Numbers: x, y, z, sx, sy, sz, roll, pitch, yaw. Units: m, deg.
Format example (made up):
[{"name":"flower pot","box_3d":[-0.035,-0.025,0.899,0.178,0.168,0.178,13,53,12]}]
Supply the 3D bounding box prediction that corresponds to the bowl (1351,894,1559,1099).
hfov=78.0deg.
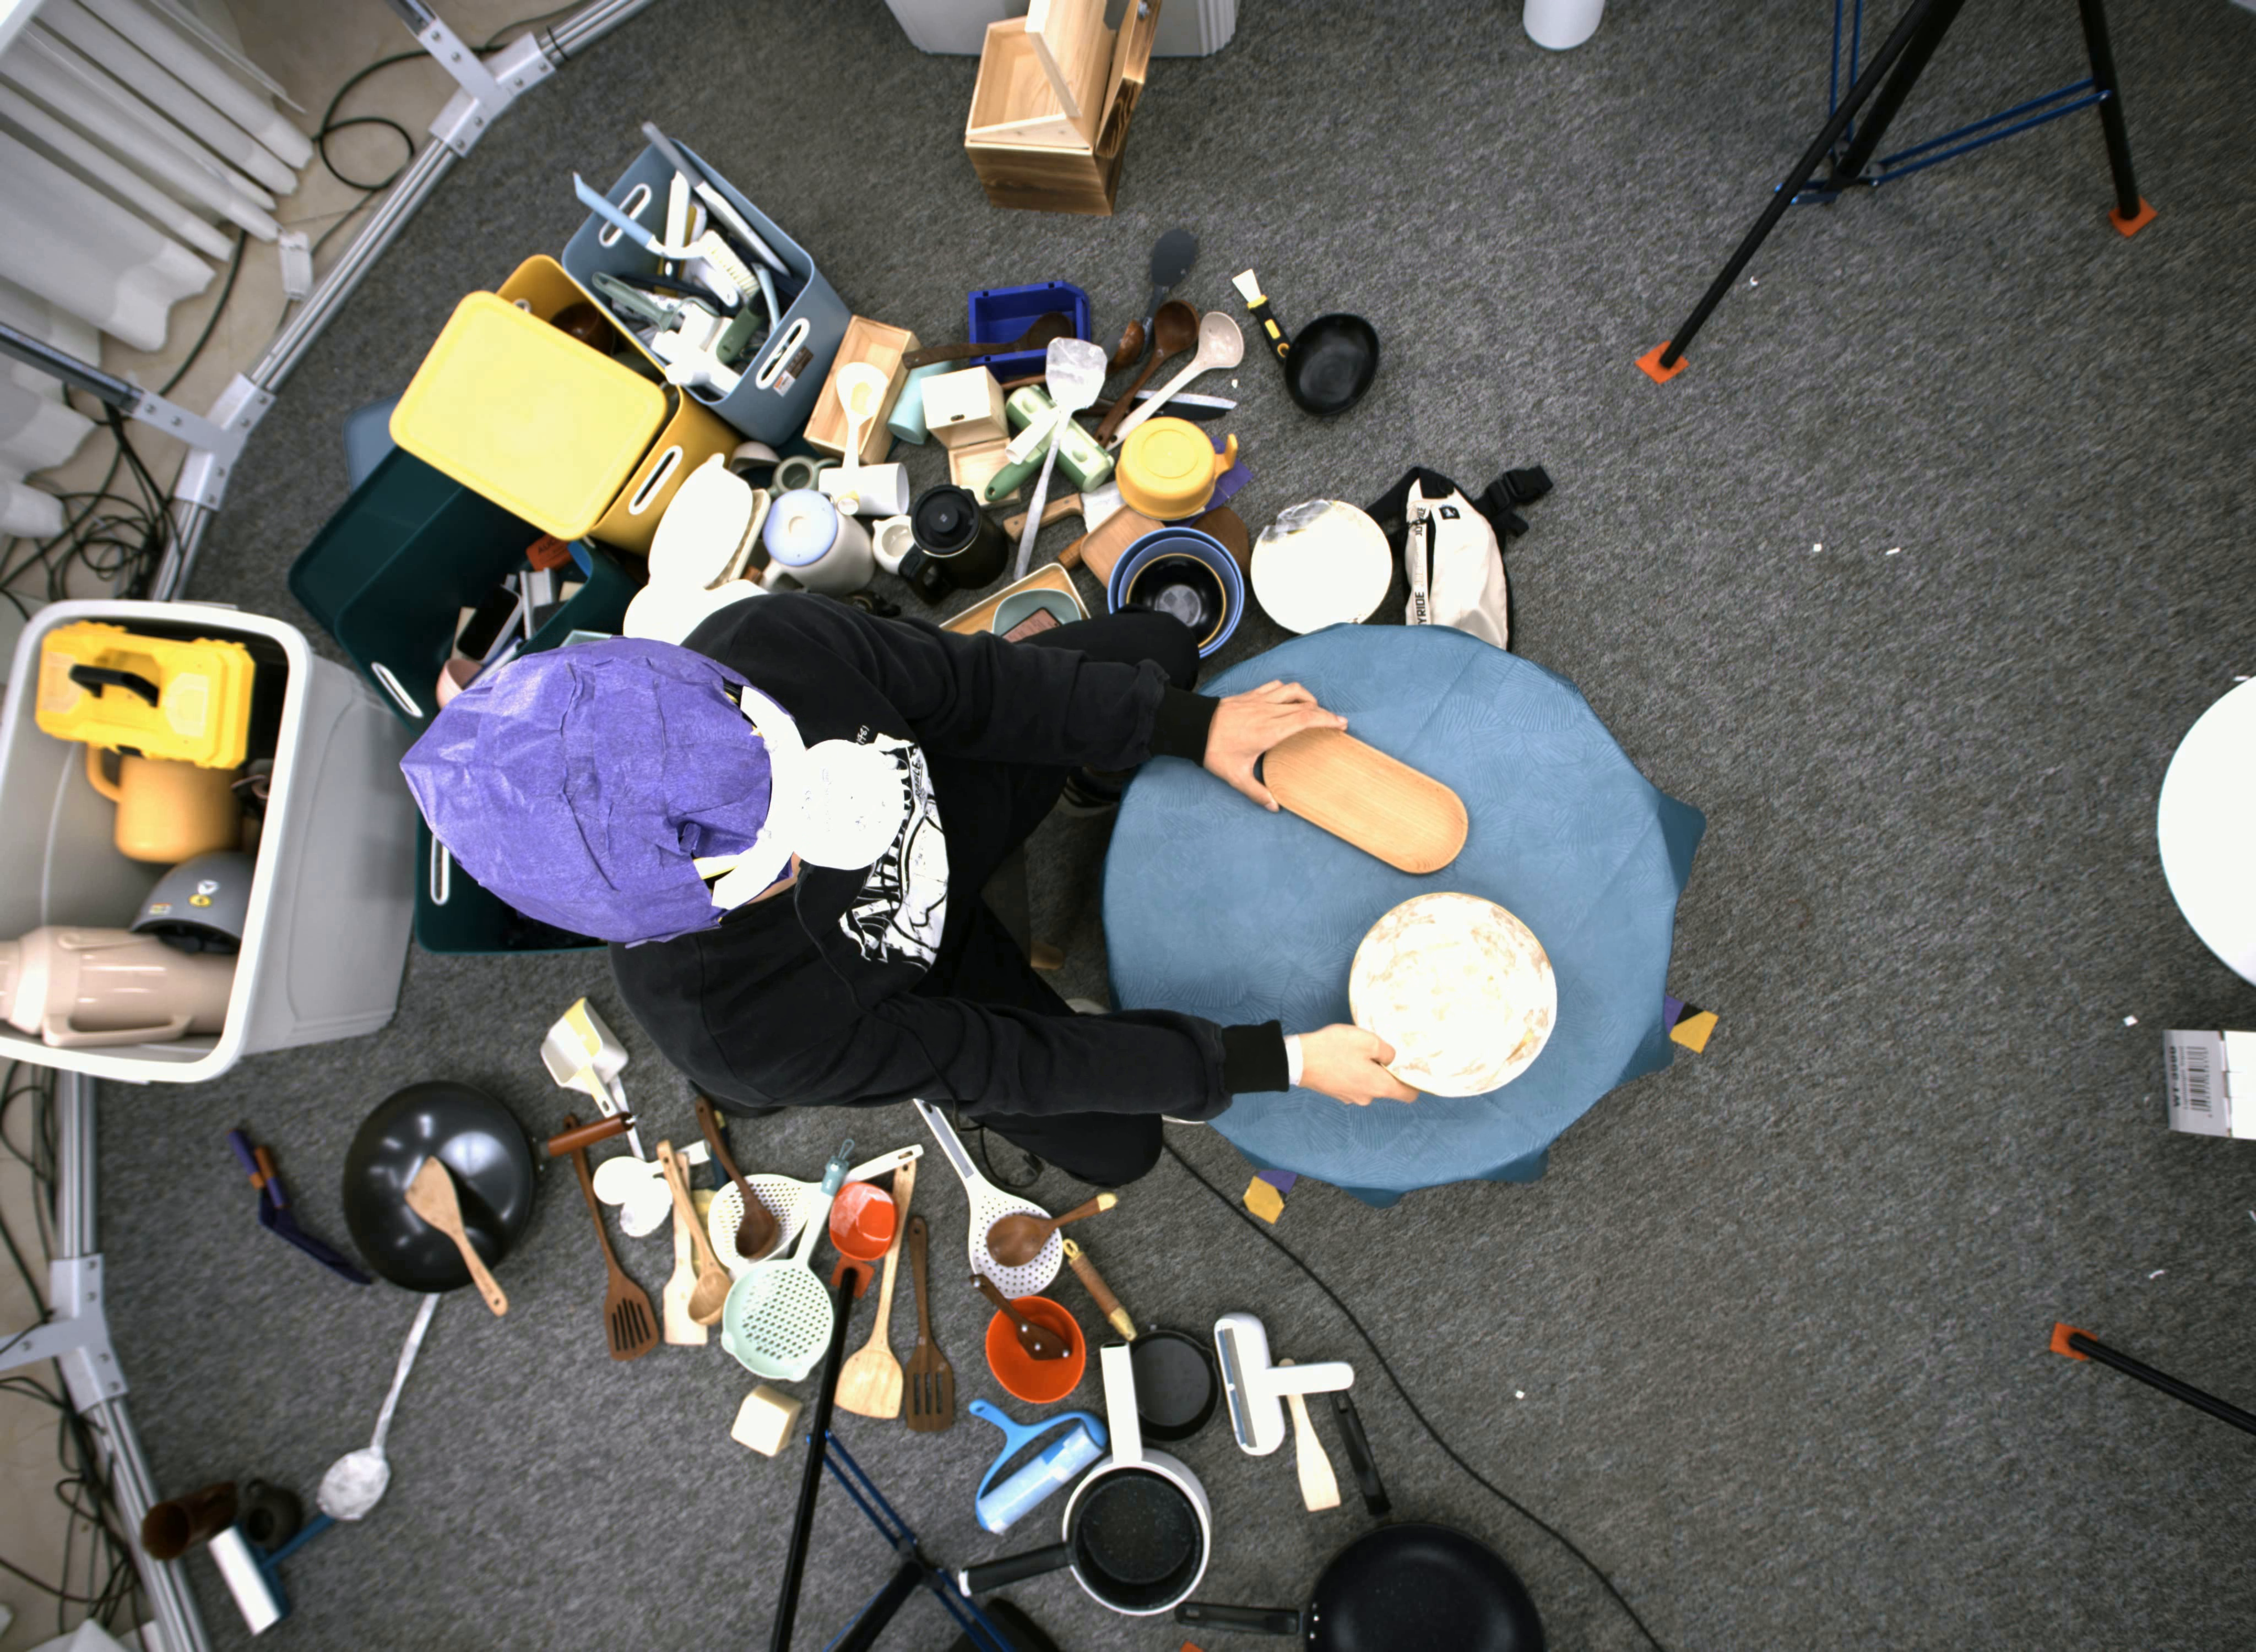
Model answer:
[{"name":"bowl","box_3d":[0.326,0.169,1.399,0.215,0.095,0.212,-2,80,10]}]

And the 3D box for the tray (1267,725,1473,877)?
[{"name":"tray","box_3d":[0.256,-0.029,1.466,0.231,0.020,0.102,28,95,9]}]
